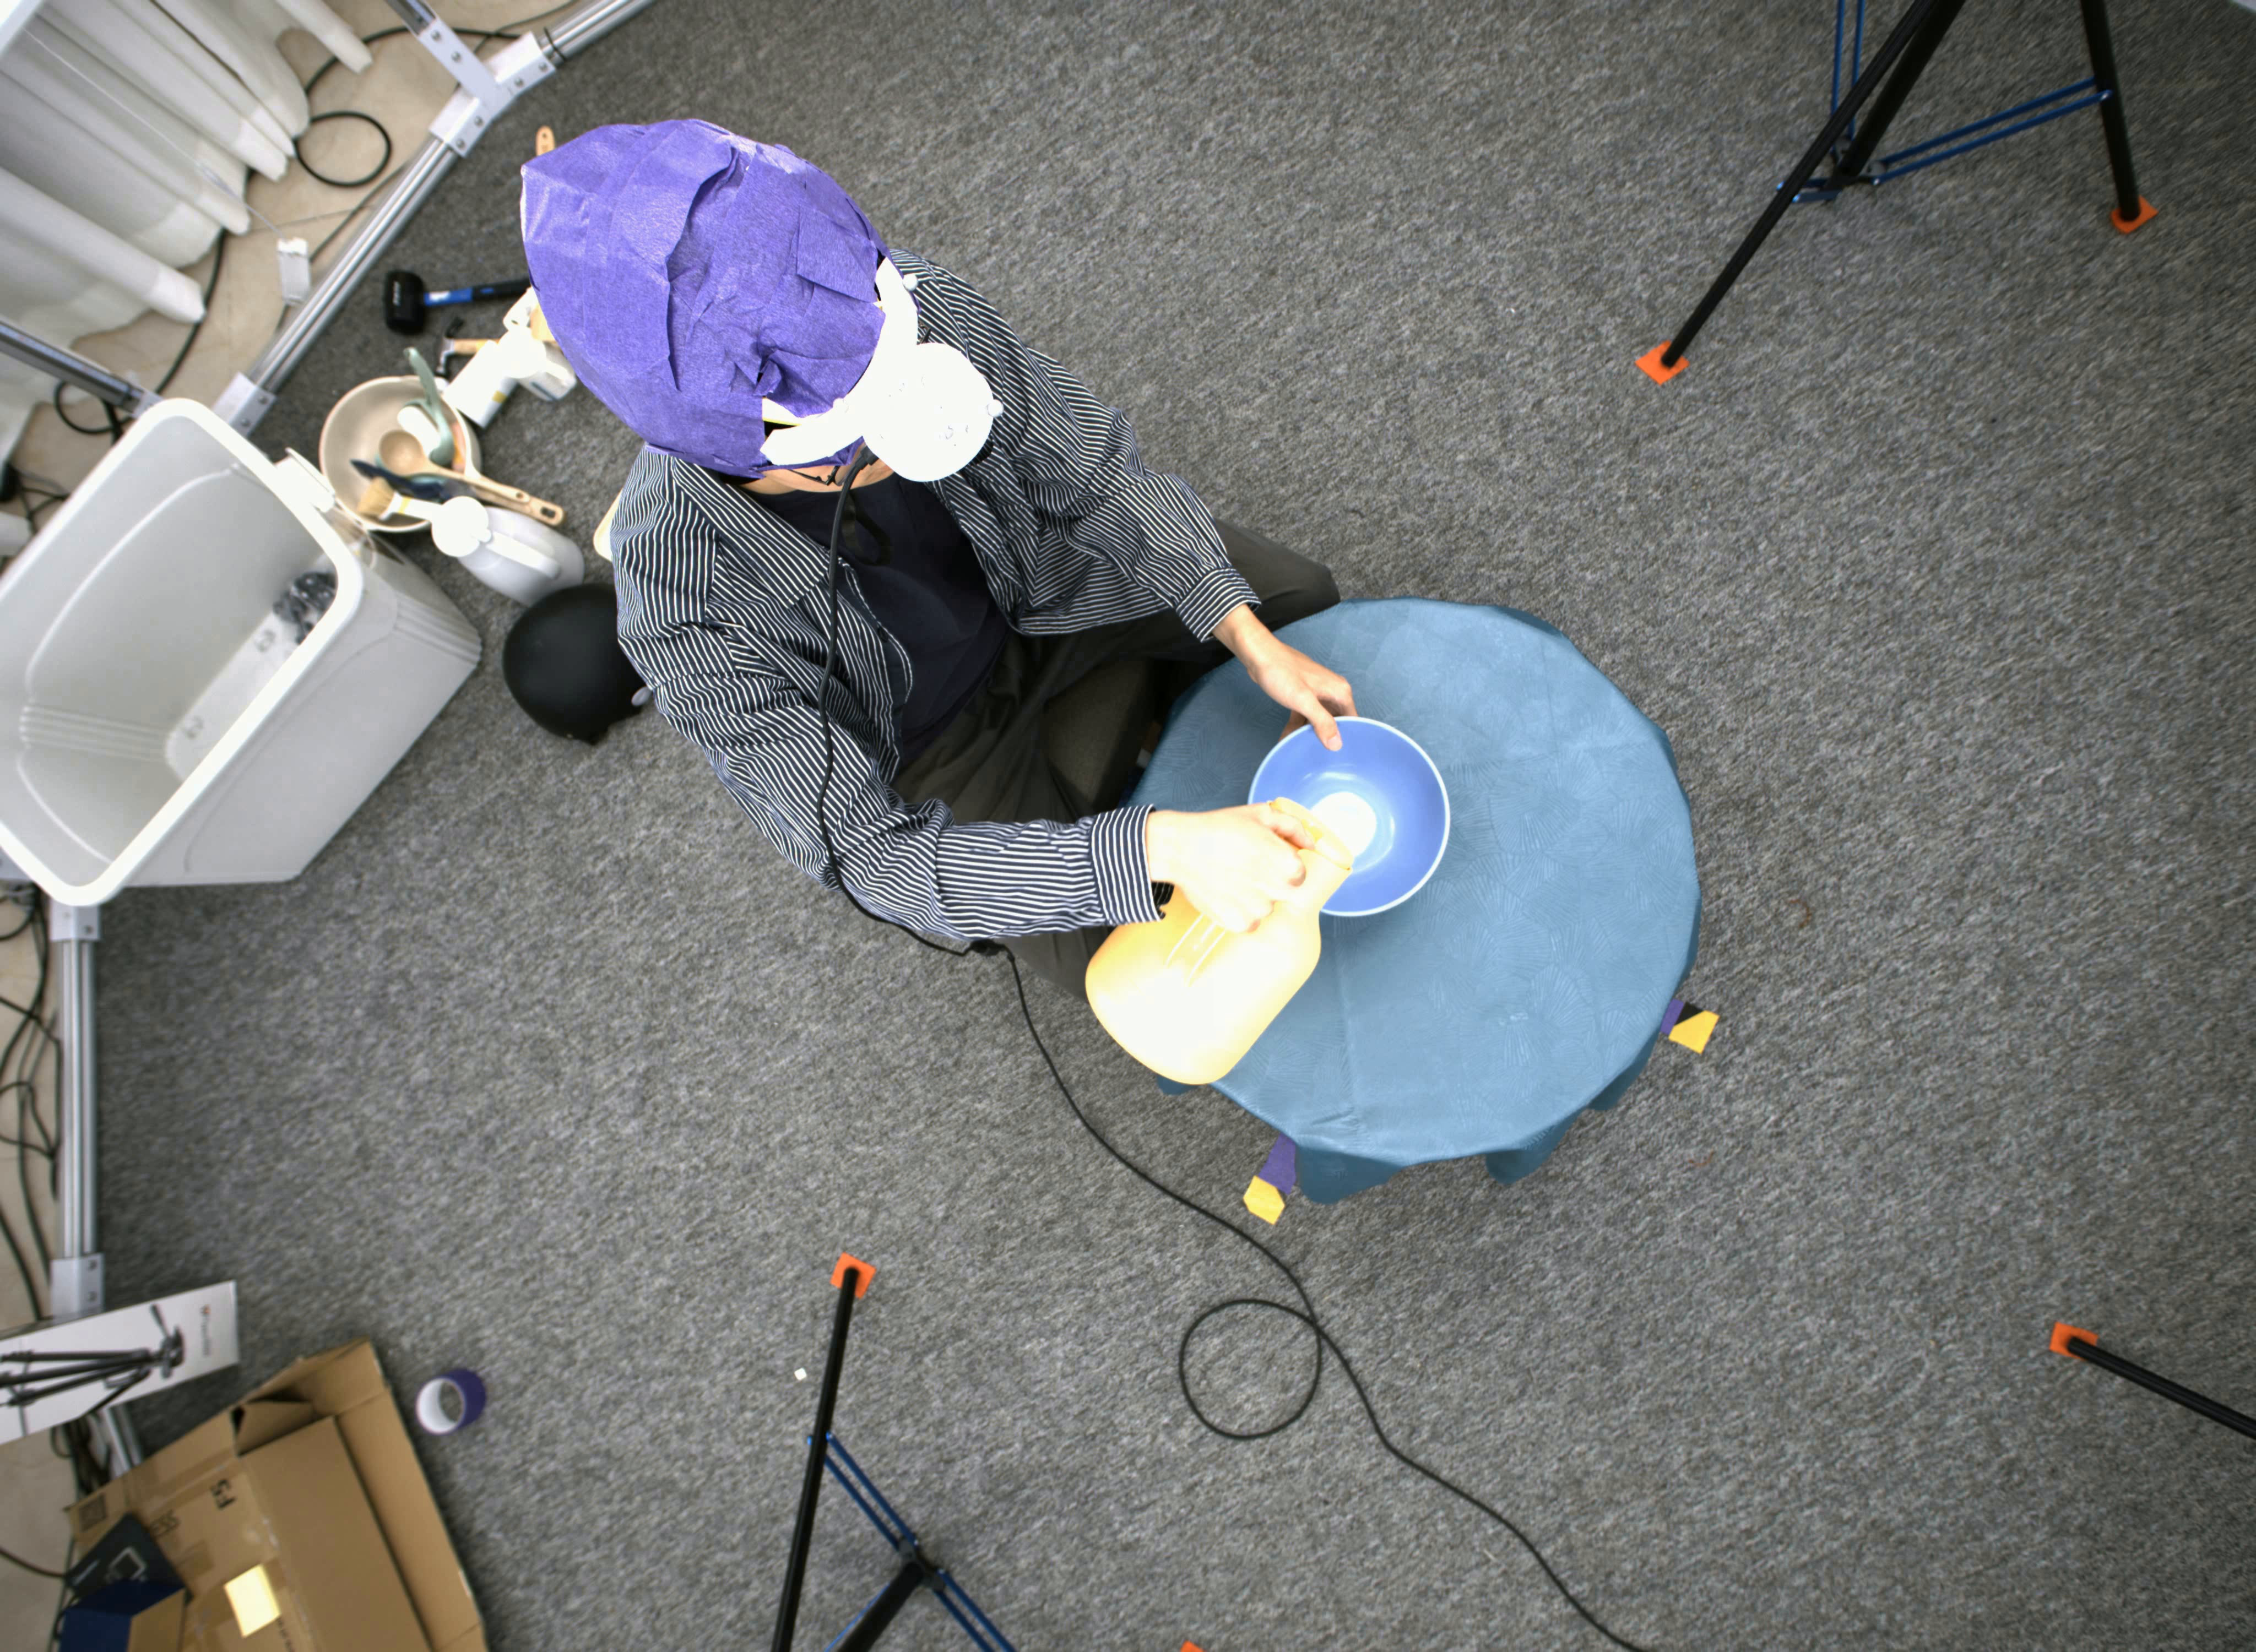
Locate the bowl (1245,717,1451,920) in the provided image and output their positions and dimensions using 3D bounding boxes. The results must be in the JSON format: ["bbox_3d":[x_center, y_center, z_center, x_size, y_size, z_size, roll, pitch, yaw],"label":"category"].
[{"bbox_3d":[0.213,-0.003,1.364,0.197,0.096,0.195,0,84,4],"label":"bowl"}]

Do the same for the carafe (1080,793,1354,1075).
[{"bbox_3d":[0.080,0.090,1.228,0.163,0.200,0.264,43,106,11],"label":"carafe"}]
